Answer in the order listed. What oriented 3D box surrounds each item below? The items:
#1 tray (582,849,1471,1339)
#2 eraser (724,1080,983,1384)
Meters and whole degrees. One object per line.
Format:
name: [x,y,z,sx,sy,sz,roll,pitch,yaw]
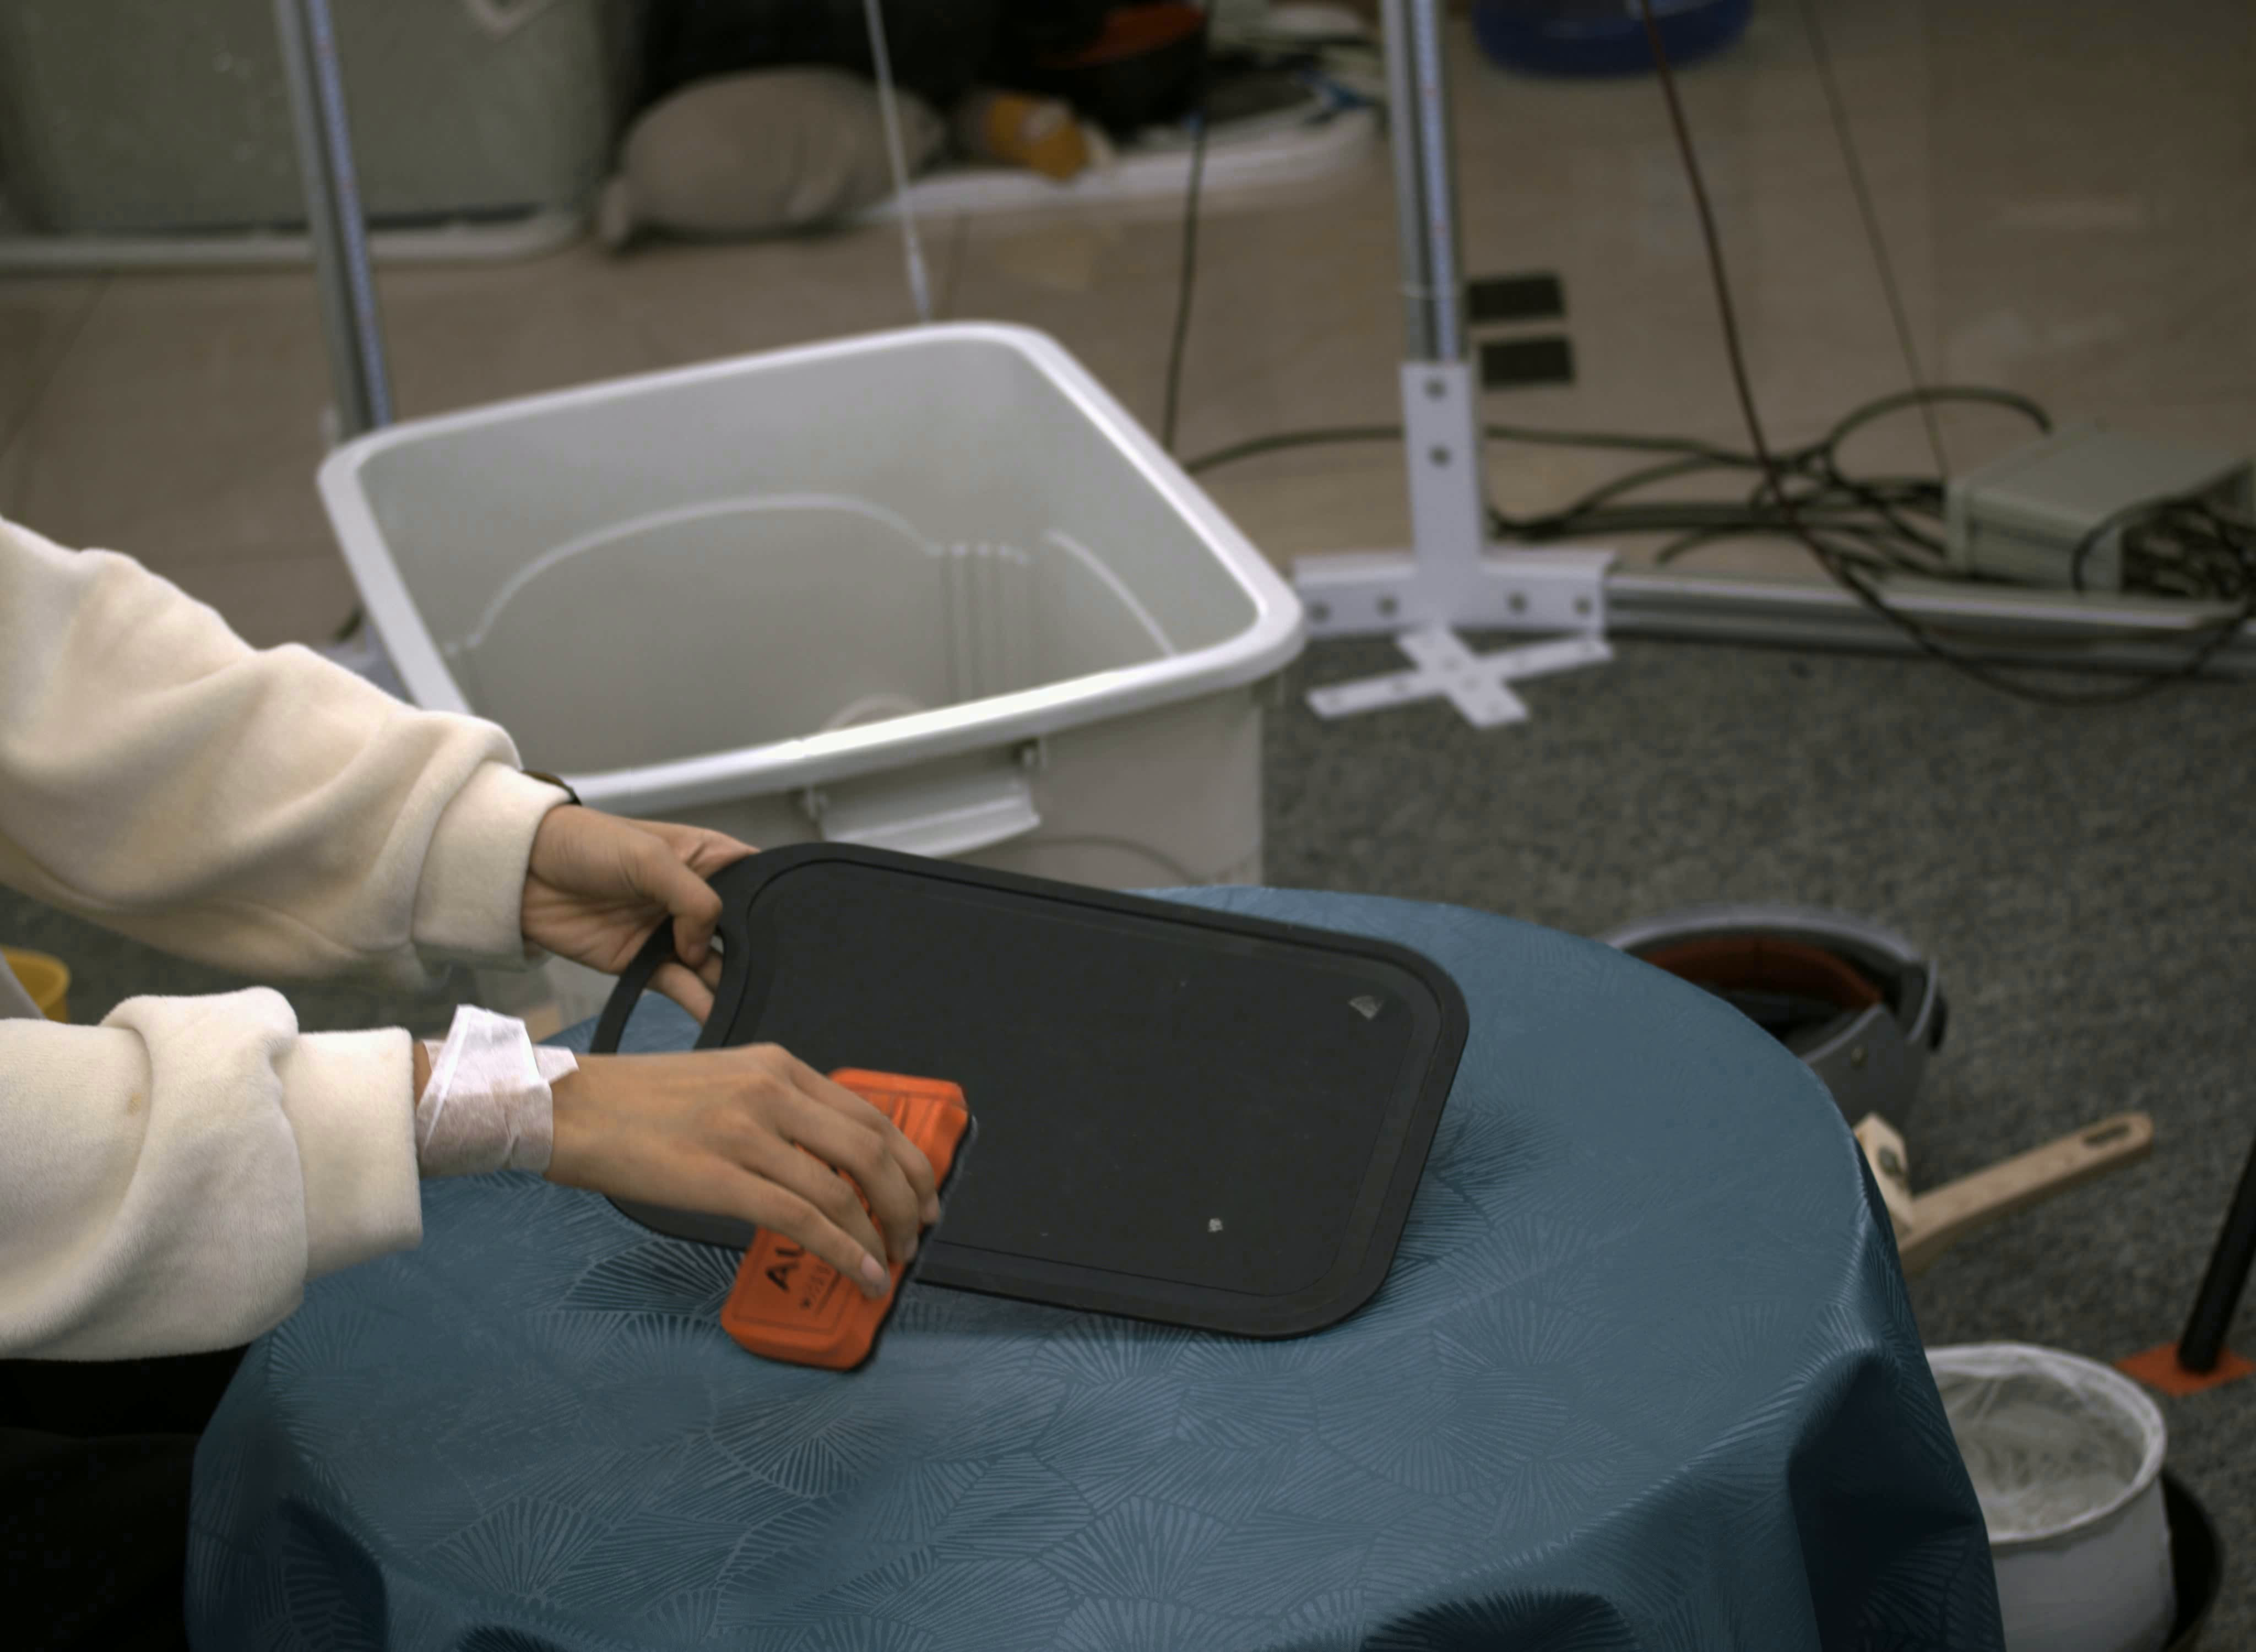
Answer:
tray: [-0.044,0.095,2.132,0.324,0.010,0.207,9,47,13]
eraser: [-0.096,0.142,1.987,0.059,0.023,0.107,7,62,35]
